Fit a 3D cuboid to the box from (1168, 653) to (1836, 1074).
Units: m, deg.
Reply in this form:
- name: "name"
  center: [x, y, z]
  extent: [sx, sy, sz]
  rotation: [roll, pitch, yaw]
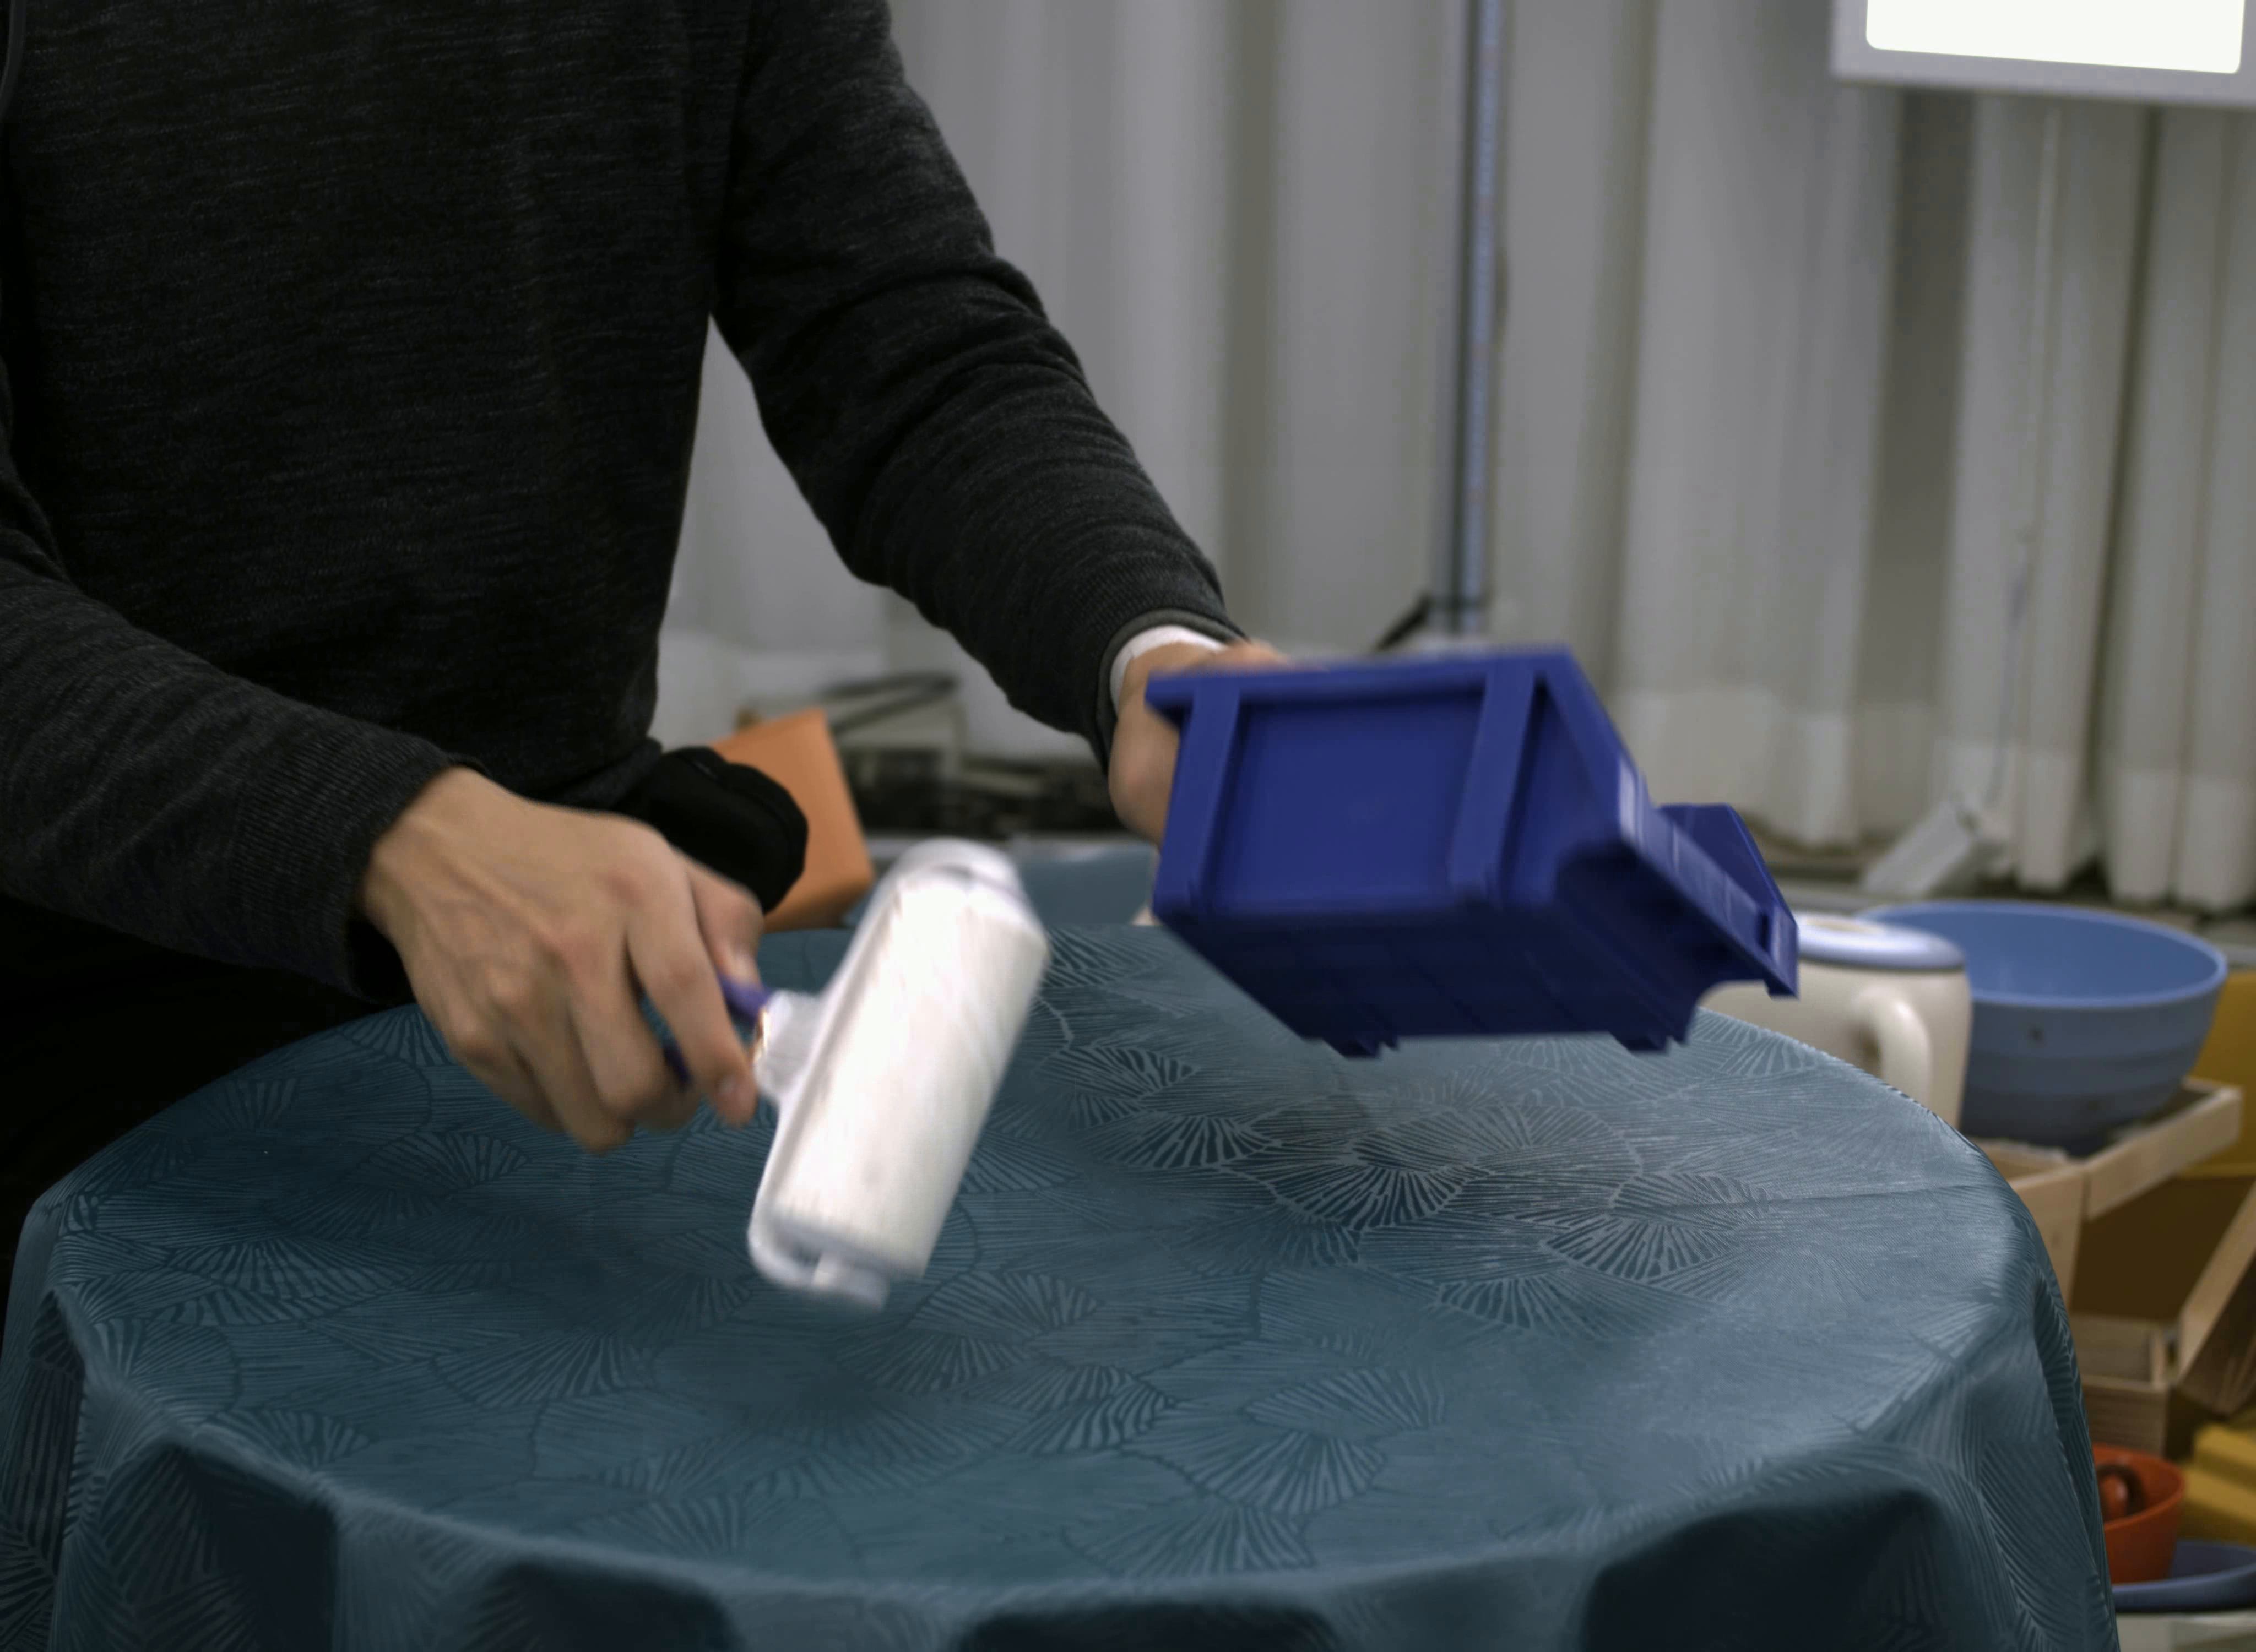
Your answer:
- name: "box"
  center: [0.114, 0.014, 1.608]
  extent: [0.177, 0.081, 0.126]
  rotation: [-6, -27, 33]

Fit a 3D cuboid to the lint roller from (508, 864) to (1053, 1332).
- name: "lint roller"
  center: [-0.113, 0.059, 1.483]
  extent: [0.178, 0.133, 0.051]
  rotation: [18, -13, 31]
